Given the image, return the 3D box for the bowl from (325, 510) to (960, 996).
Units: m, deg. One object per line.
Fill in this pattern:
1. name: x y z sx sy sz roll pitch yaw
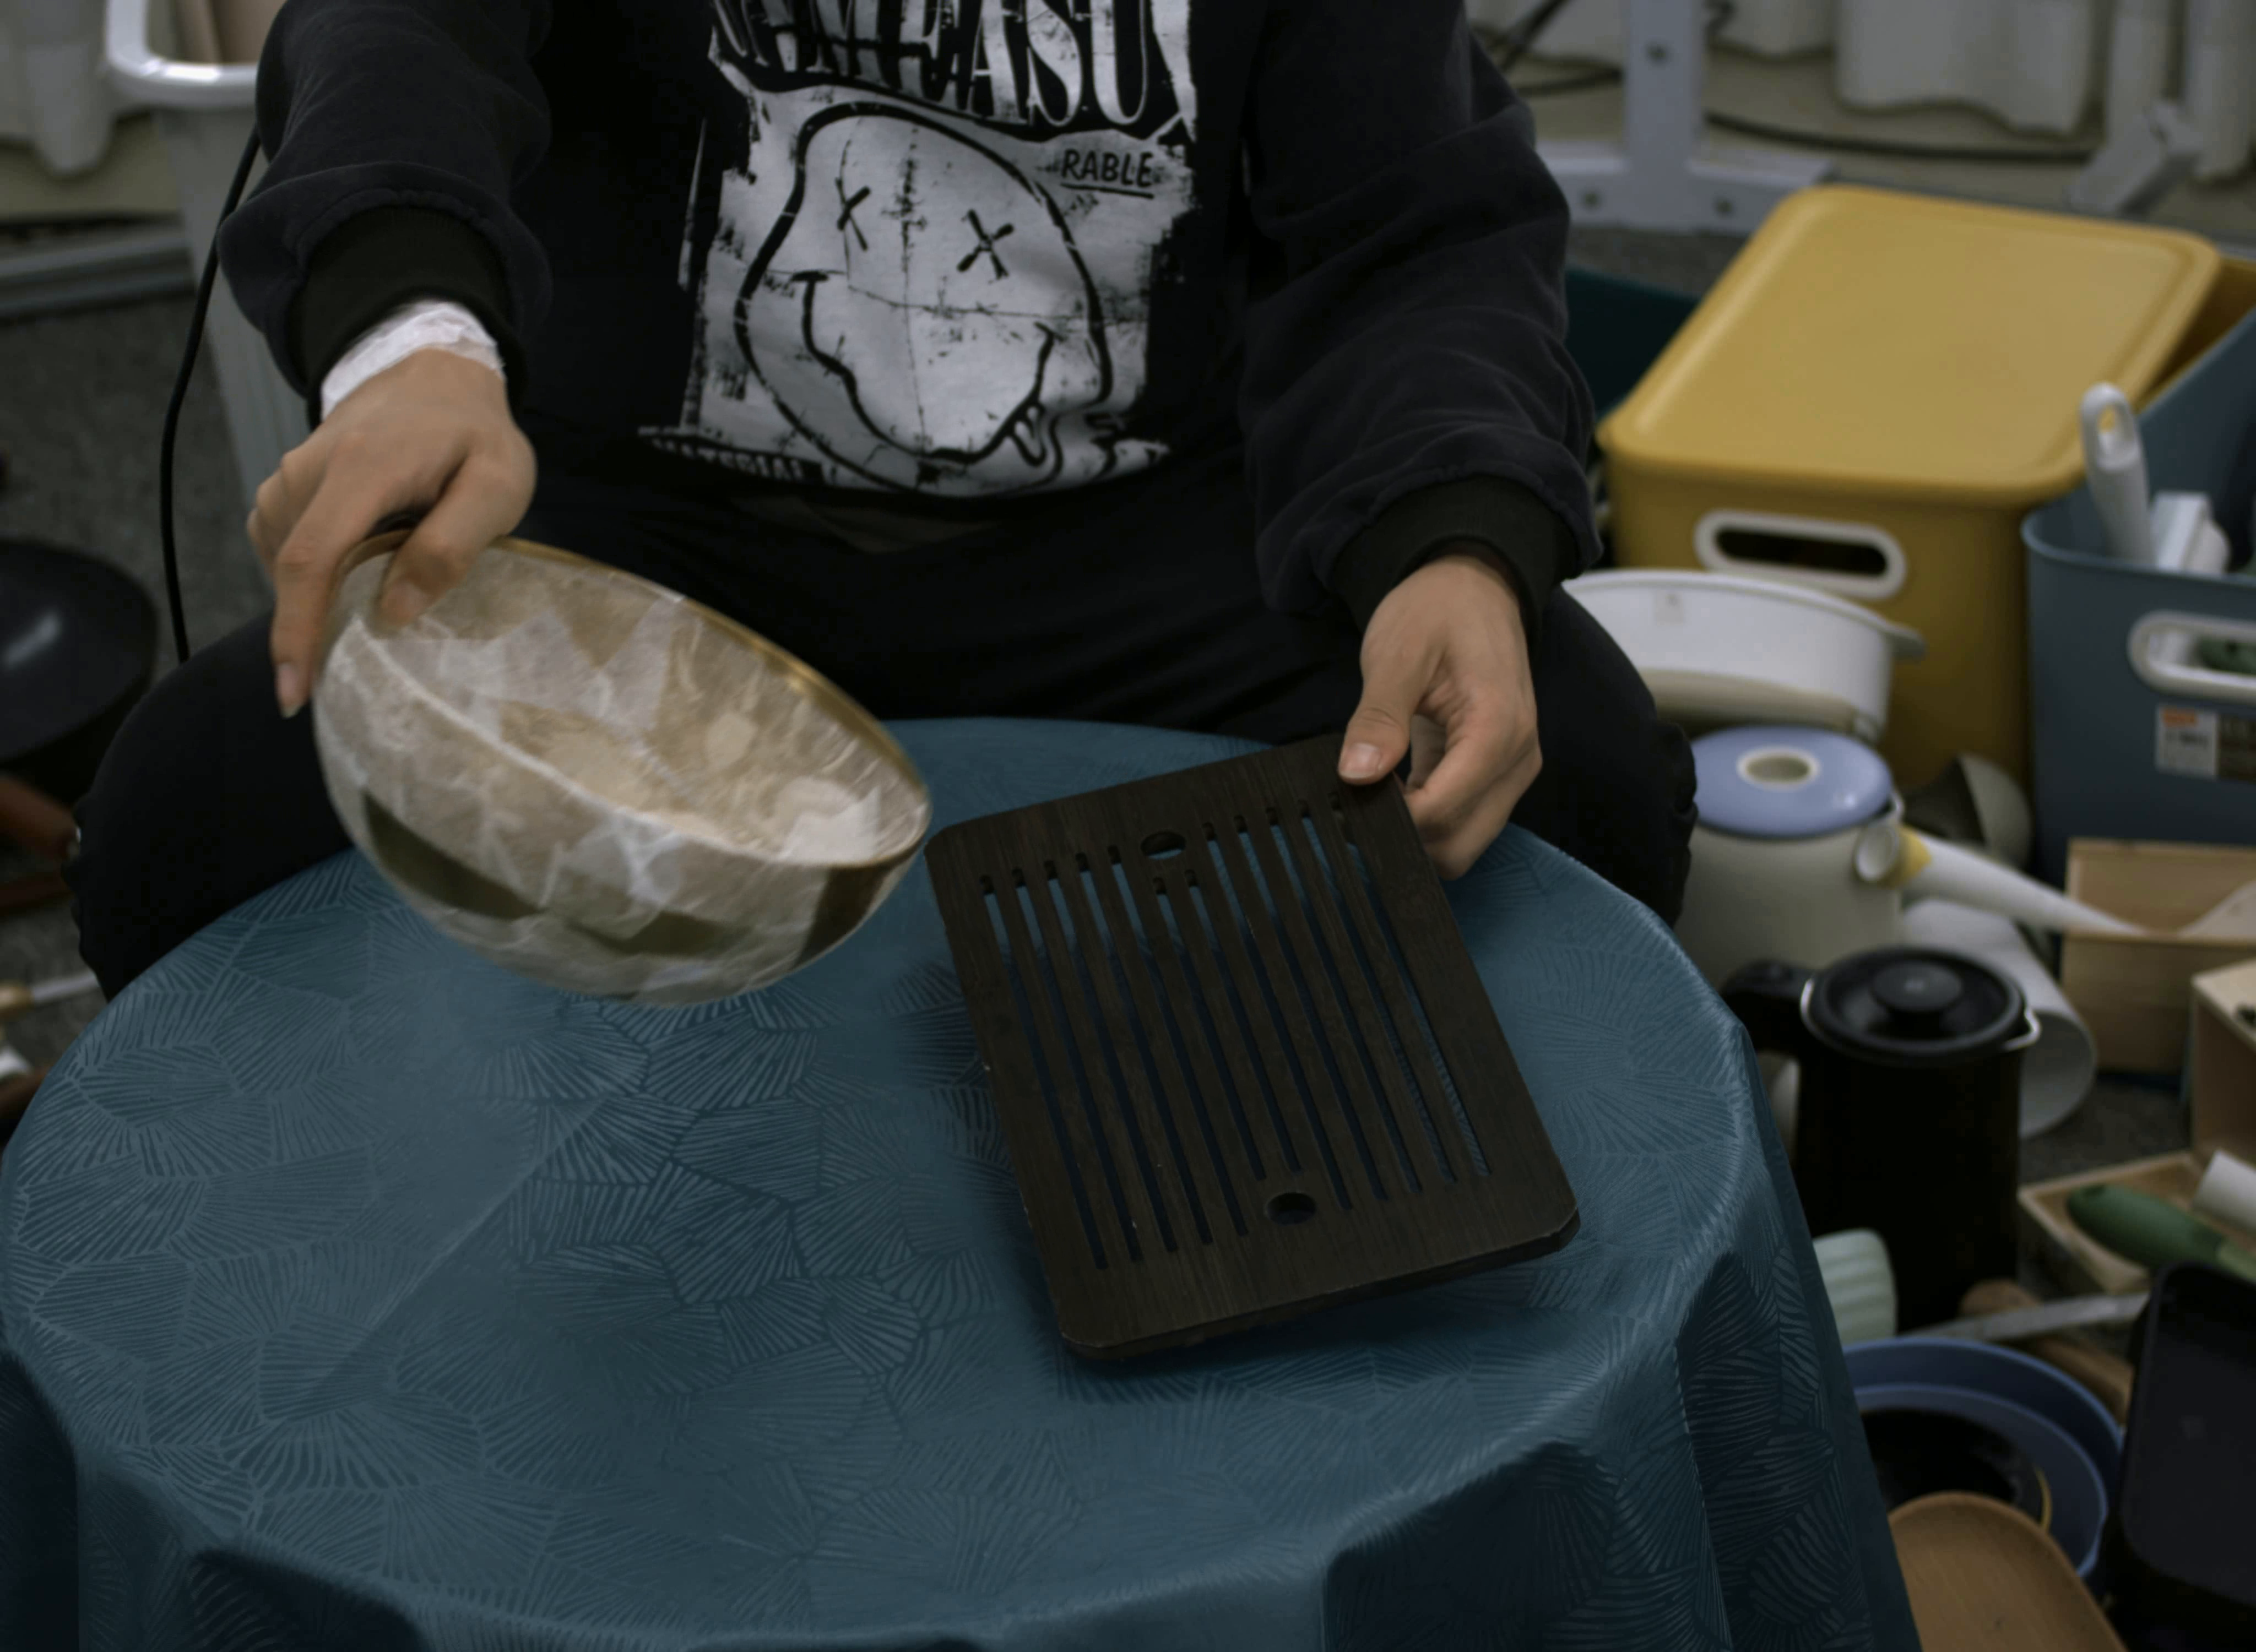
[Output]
1. bowl: -0.163 -0.008 1.756 0.214 0.094 0.217 23 18 -7

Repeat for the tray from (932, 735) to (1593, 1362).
1. tray: 0.039 0.071 1.888 0.170 0.018 0.310 -13 33 -4
